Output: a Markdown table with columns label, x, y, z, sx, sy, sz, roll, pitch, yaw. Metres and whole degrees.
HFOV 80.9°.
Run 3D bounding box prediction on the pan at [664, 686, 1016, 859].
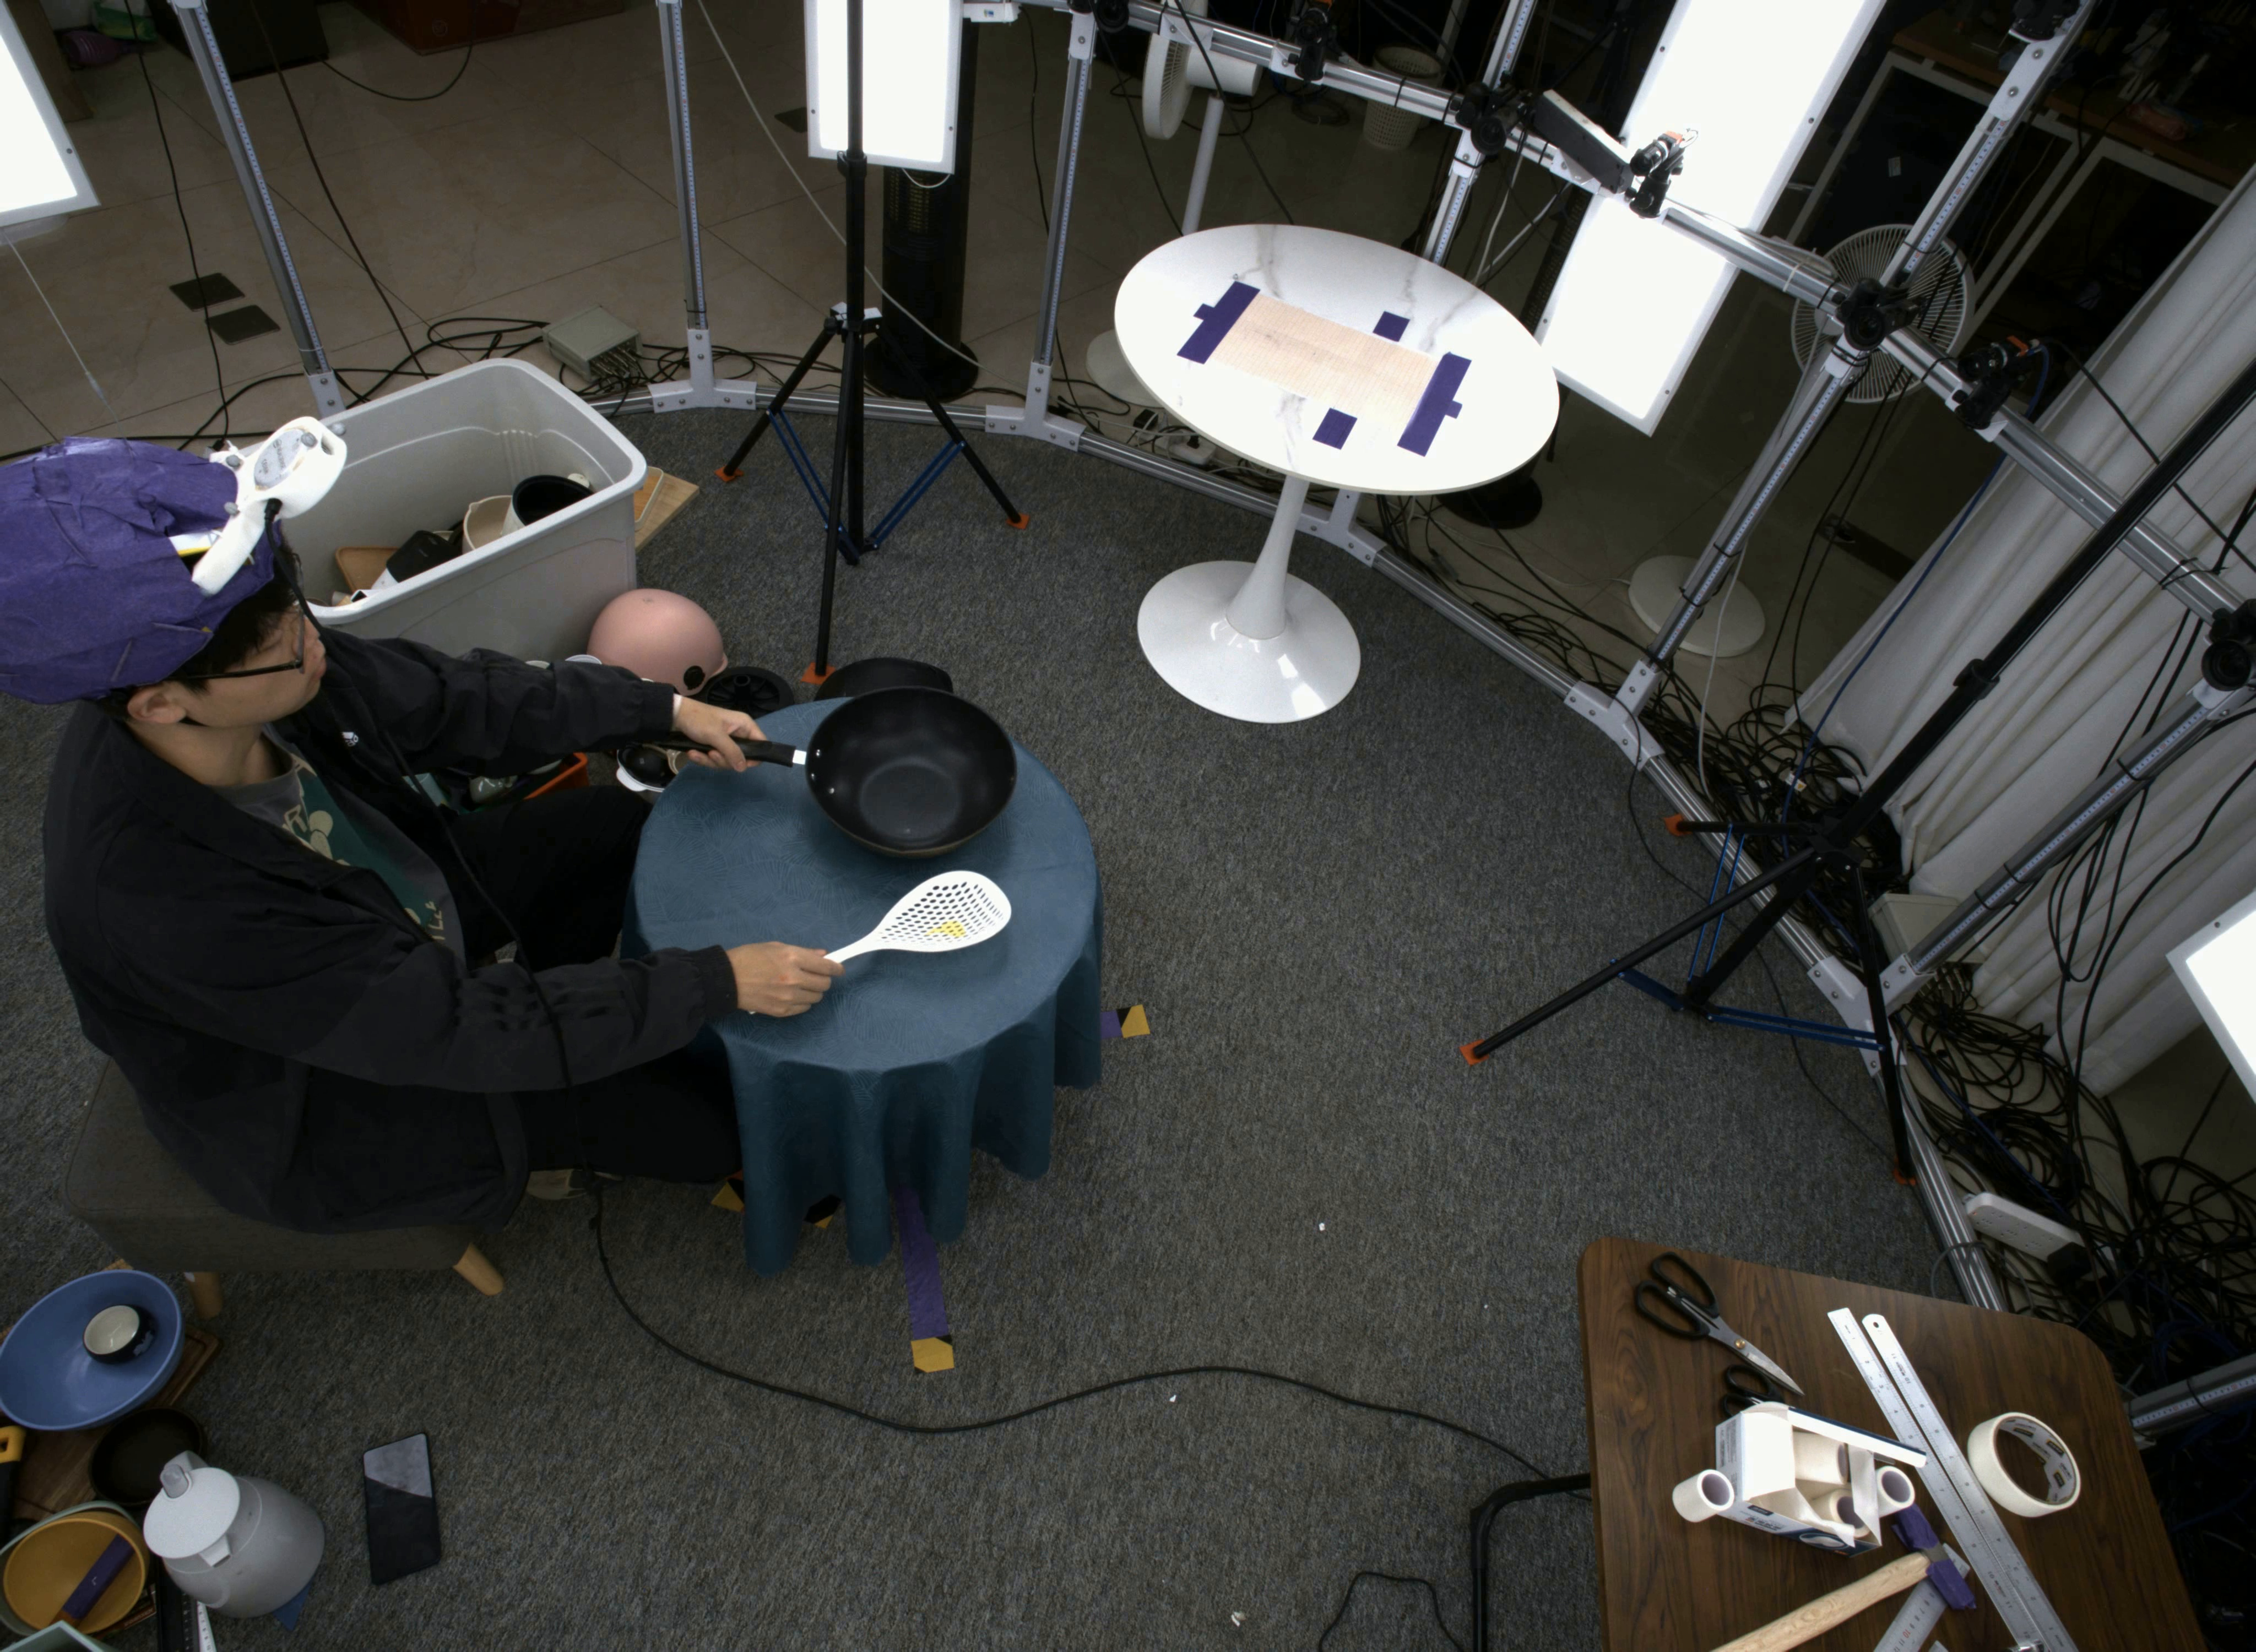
| label | x | y | z | sx | sy | sz | roll | pitch | yaw |
| --- | --- | --- | --- | --- | --- | --- | --- | --- | --- |
| pan | -0.381 | -0.068 | 1.731 | 0.462 | 0.089 | 0.283 | 6 | 52 | -9 |

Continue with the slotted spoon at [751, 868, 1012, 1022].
| label | x | y | z | sx | sy | sz | roll | pitch | yaw |
| --- | --- | --- | --- | --- | --- | --- | --- | --- | --- |
| slotted spoon | -0.306 | 0.150 | 1.605 | 0.350 | 0.052 | 0.132 | -20 | 48 | -30 |
